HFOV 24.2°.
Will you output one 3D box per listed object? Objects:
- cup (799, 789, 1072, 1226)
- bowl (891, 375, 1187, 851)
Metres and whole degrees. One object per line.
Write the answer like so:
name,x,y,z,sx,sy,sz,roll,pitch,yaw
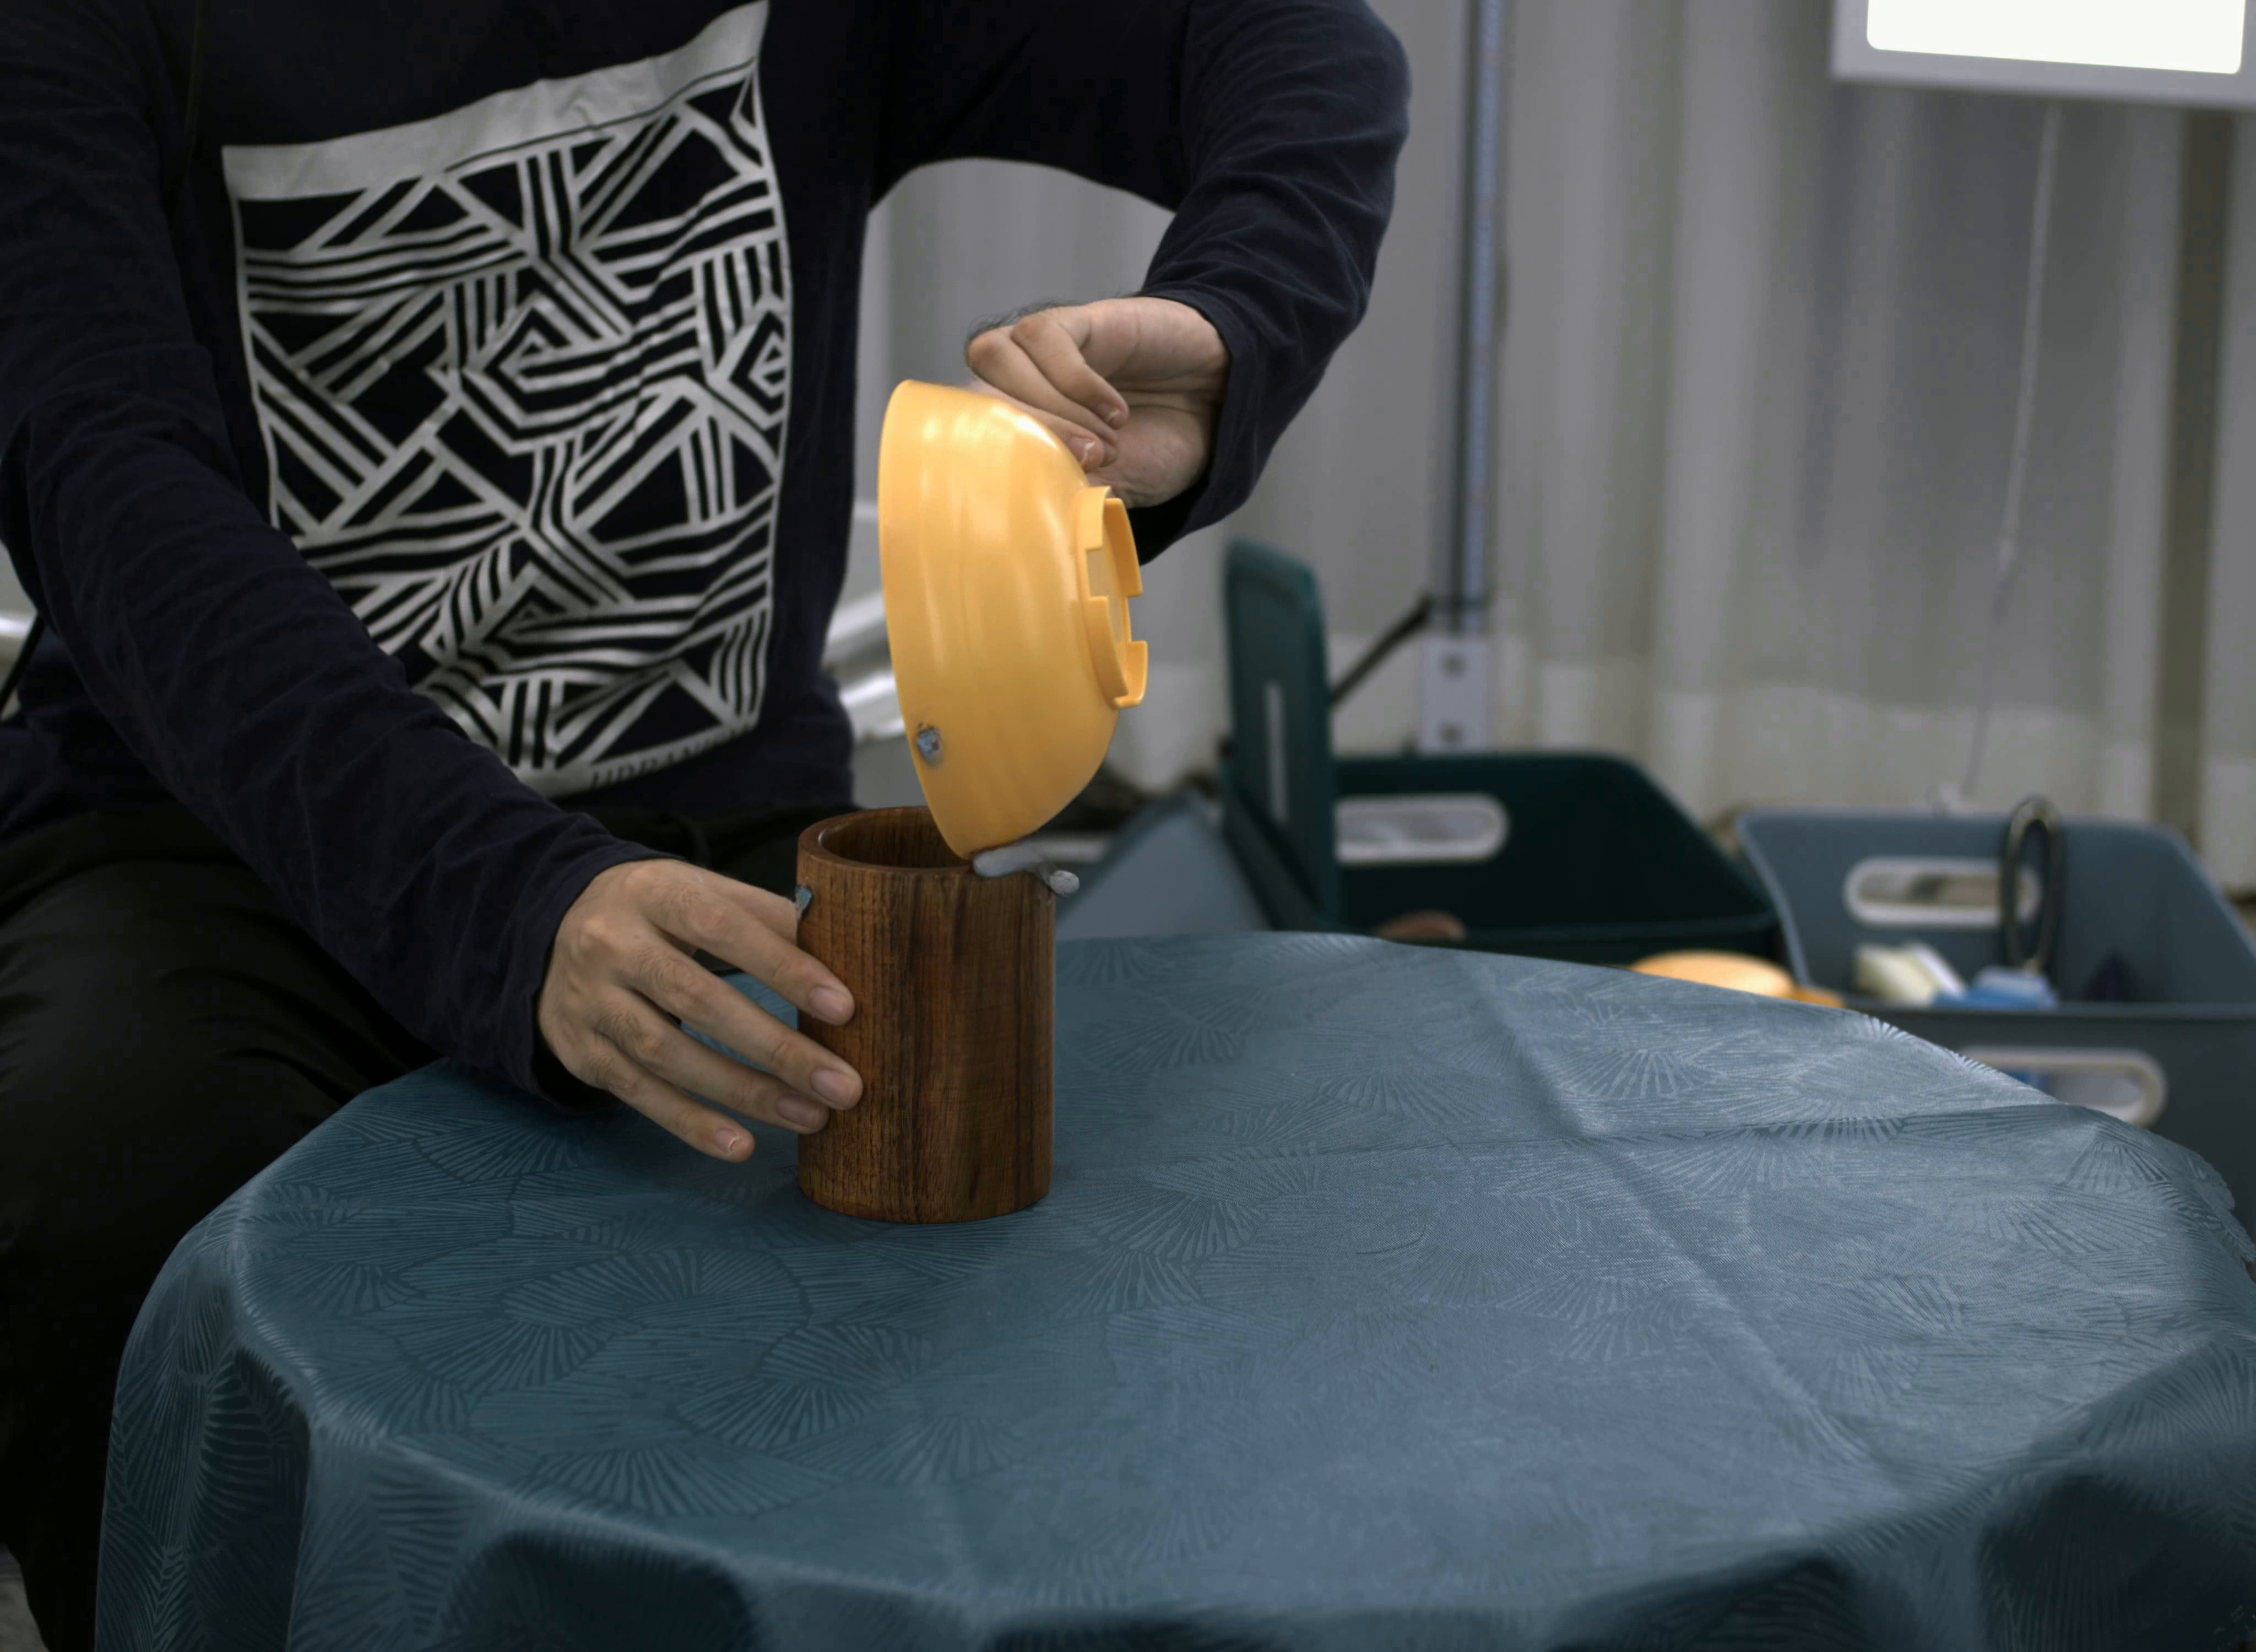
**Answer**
cup,-0.061,0.054,1.611,0.087,0.119,0.087,4,14,0
bowl,-0.020,-0.069,1.575,0.060,0.146,0.145,-10,13,15
